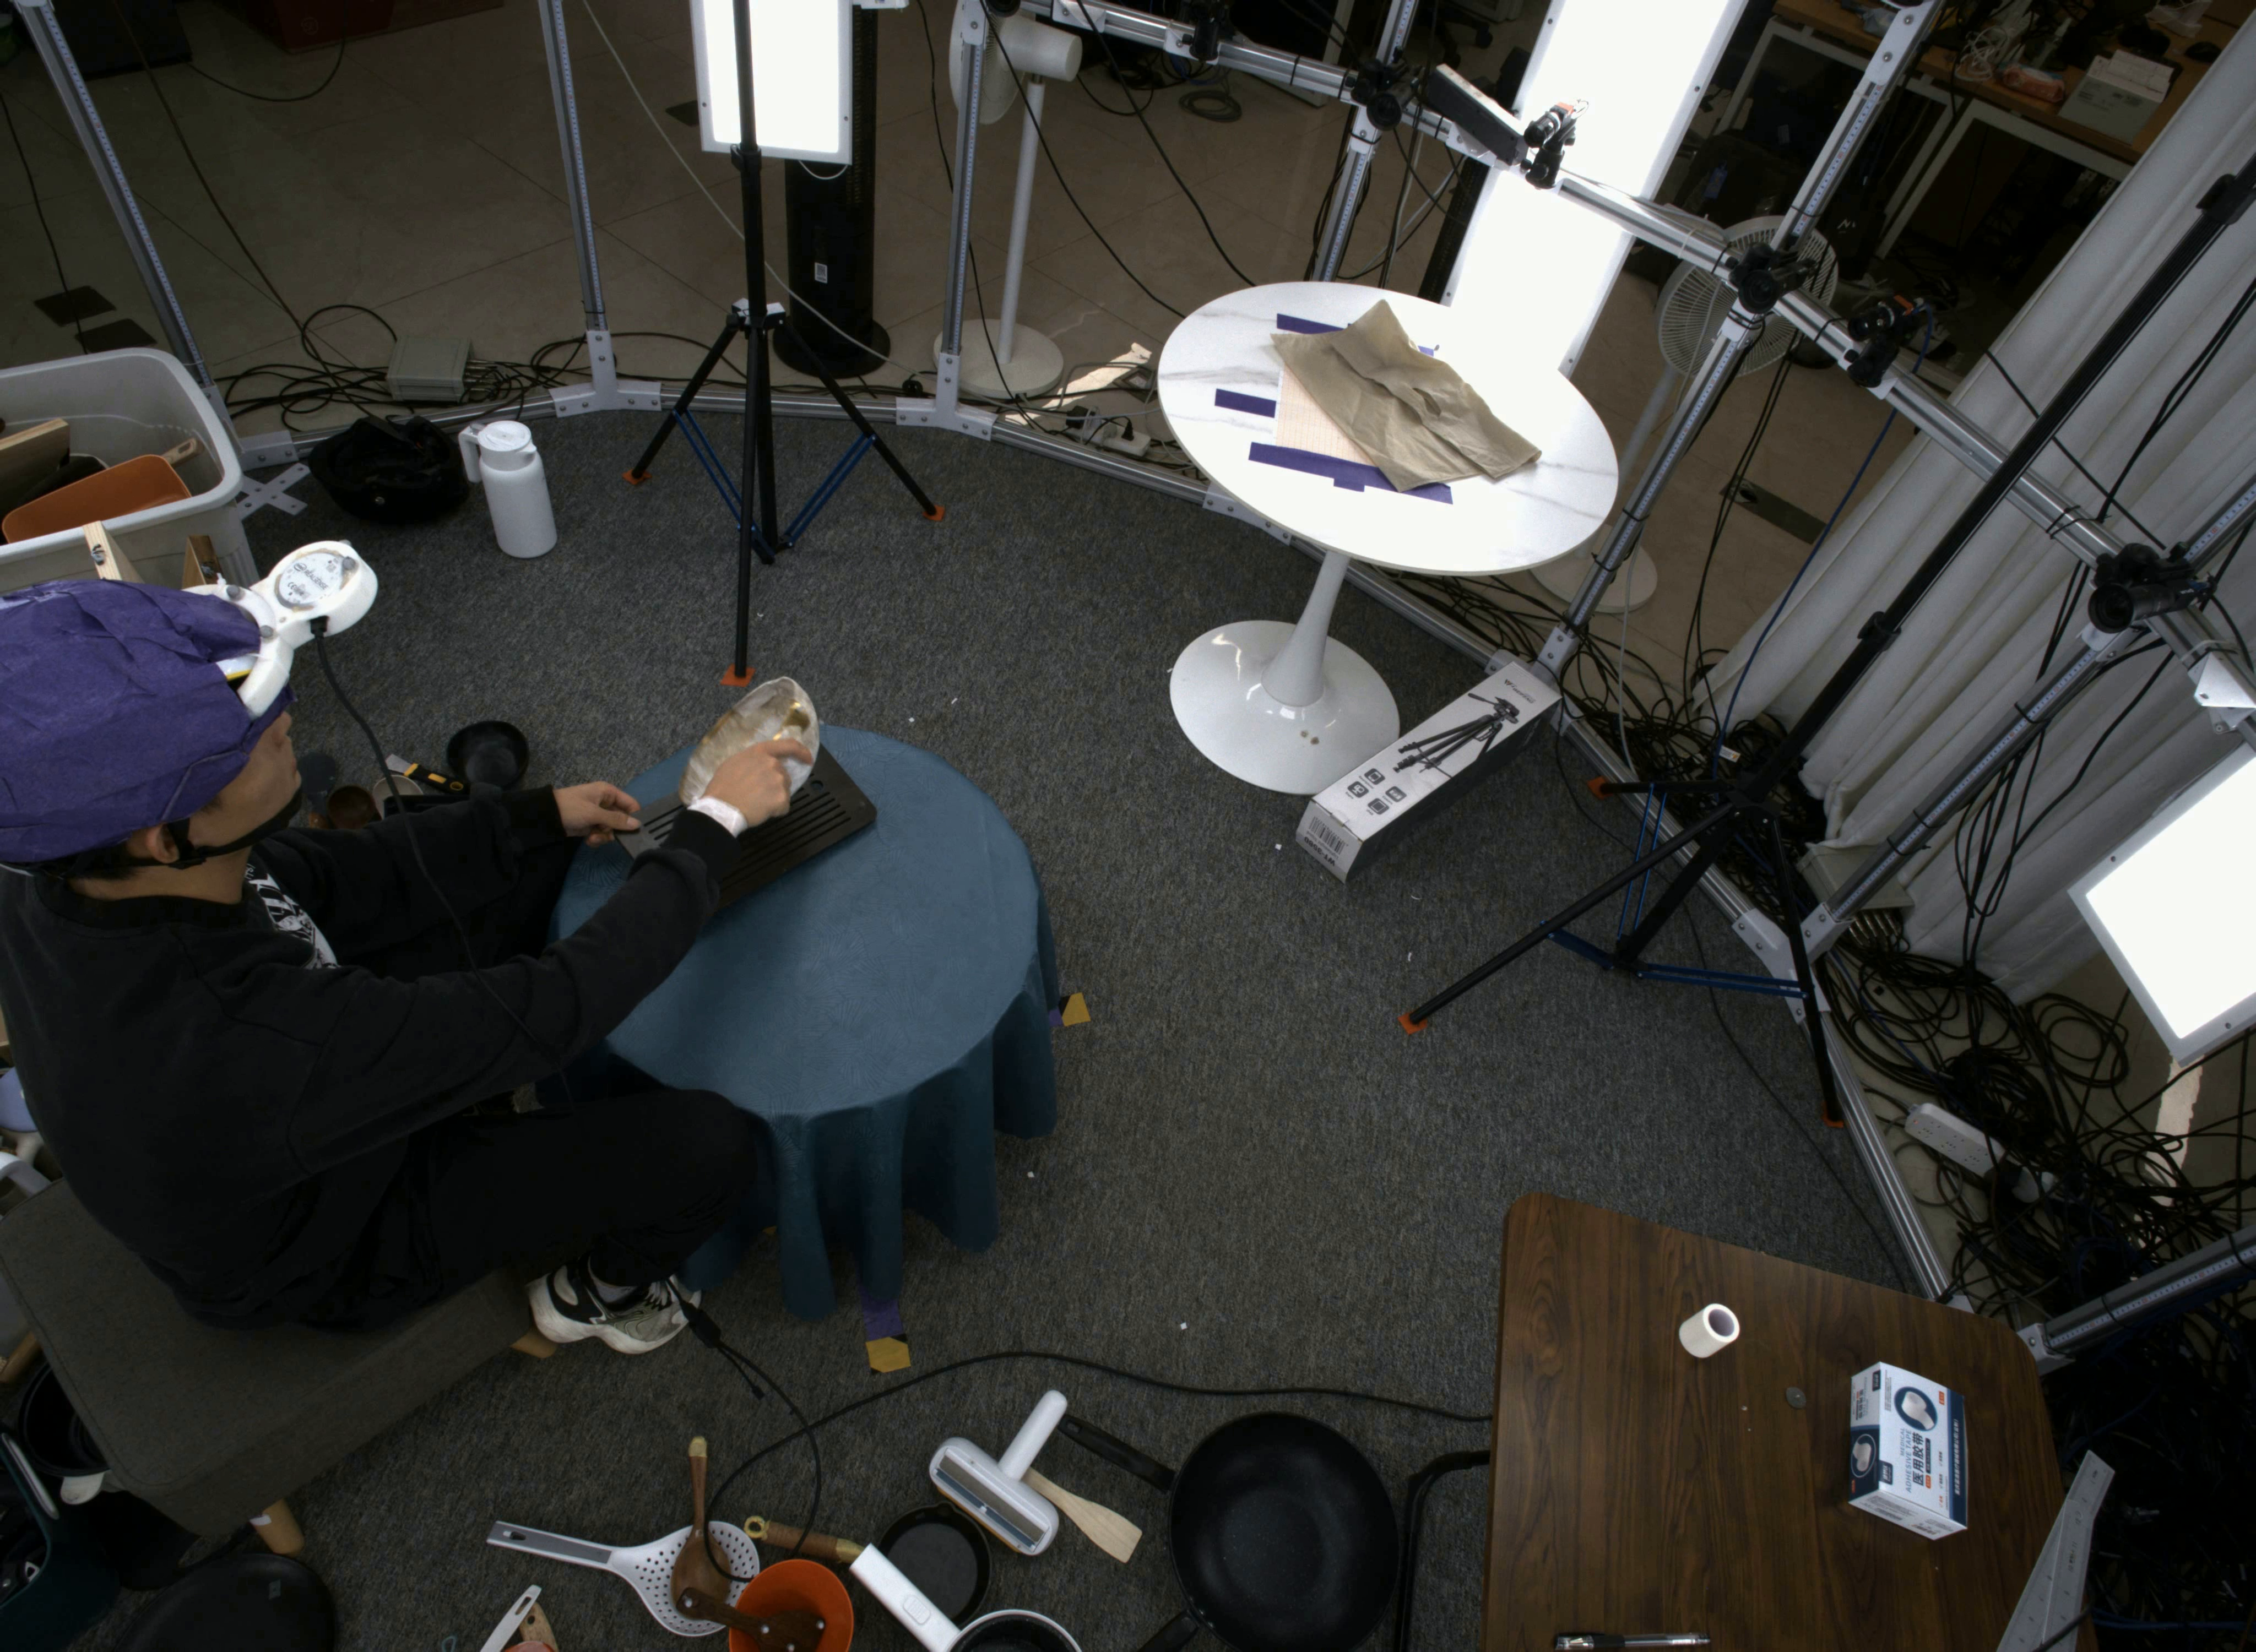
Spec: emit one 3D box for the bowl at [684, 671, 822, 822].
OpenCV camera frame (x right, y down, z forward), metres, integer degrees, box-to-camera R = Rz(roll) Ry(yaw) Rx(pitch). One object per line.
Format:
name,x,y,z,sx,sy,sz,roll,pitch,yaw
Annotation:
bowl,-0.448,-0.080,1.597,0.098,0.210,0.211,42,40,-35

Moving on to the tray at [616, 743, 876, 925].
tray,-0.492,-0.006,1.676,0.307,0.019,0.168,-35,79,-36
